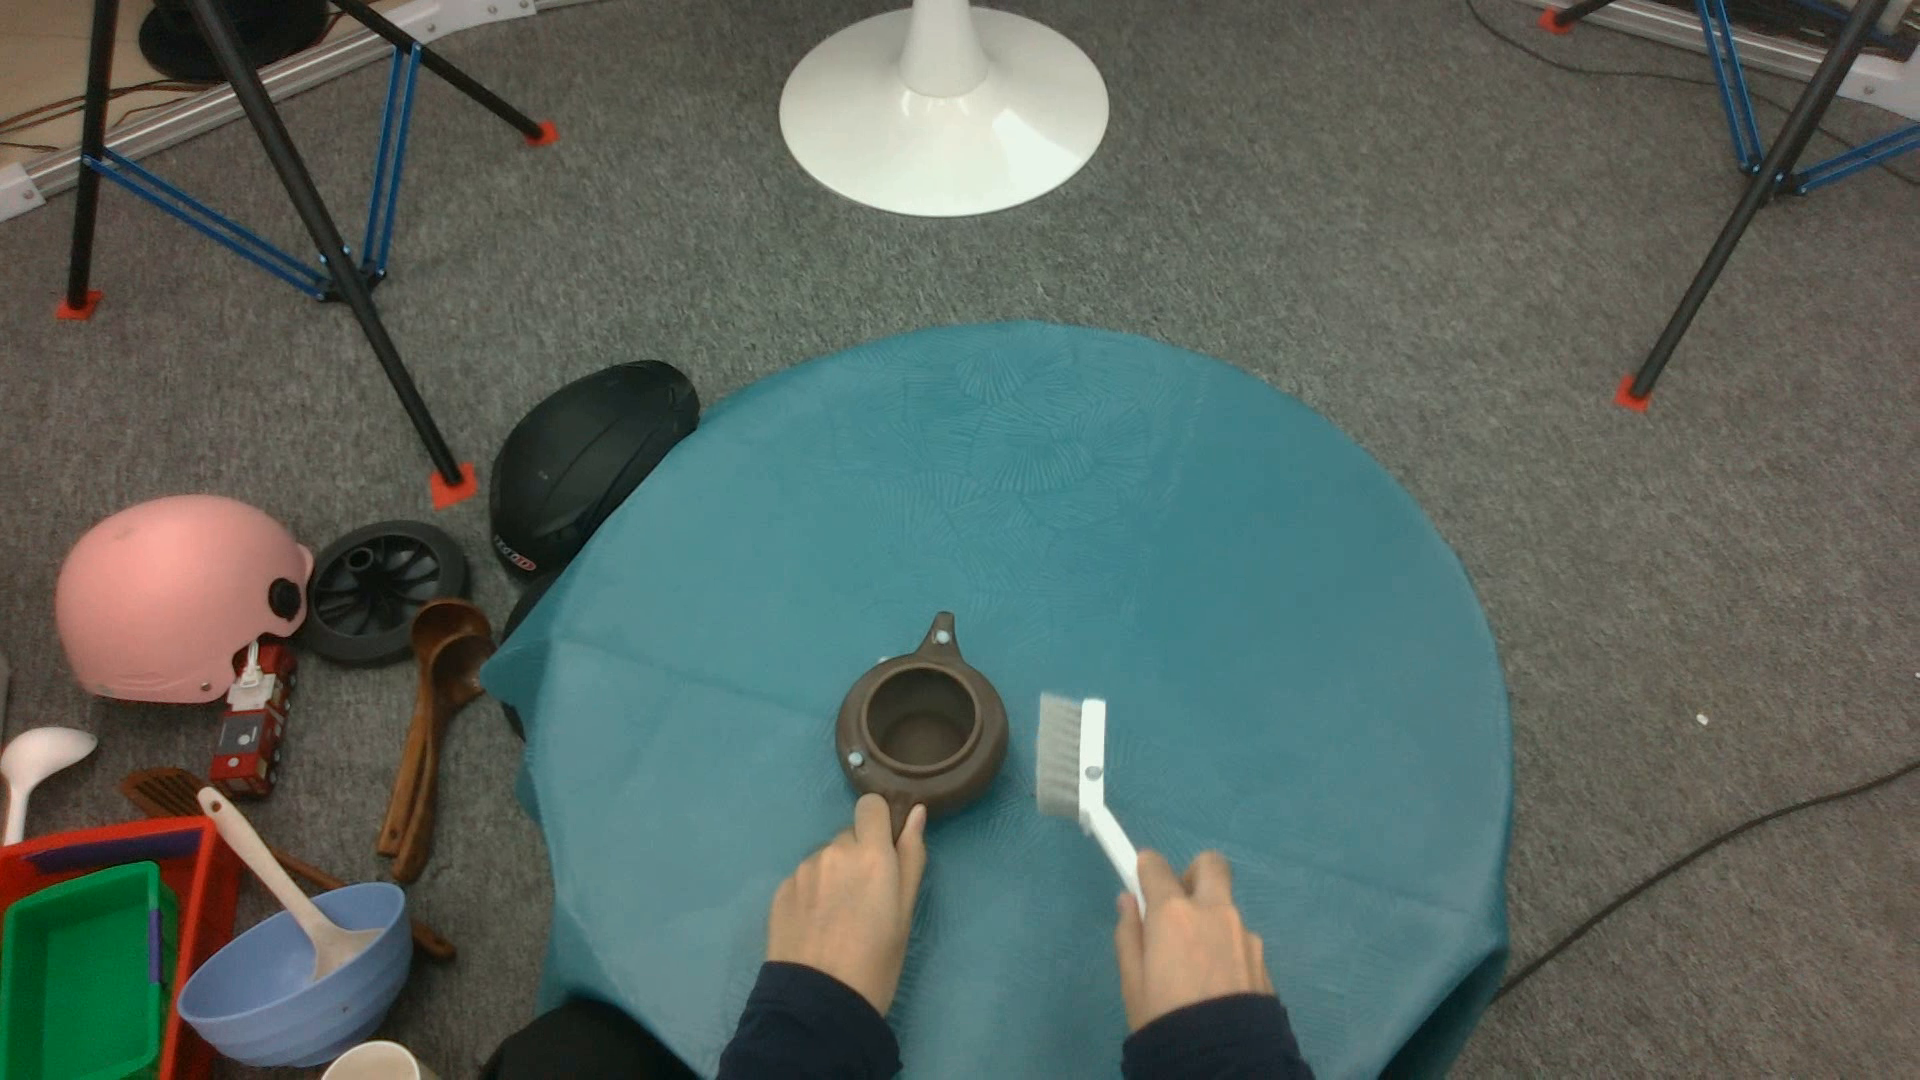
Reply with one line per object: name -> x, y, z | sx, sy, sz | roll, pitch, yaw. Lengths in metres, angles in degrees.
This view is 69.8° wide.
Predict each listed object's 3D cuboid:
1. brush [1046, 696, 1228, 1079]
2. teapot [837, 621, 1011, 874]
brush -> 0.083, 0.186, 0.708 | 0.050, 0.034, 0.244 | -10, 52, -6
teapot -> -0.022, 0.123, 0.814 | 0.102, 0.053, 0.154 | 4, 54, 4
